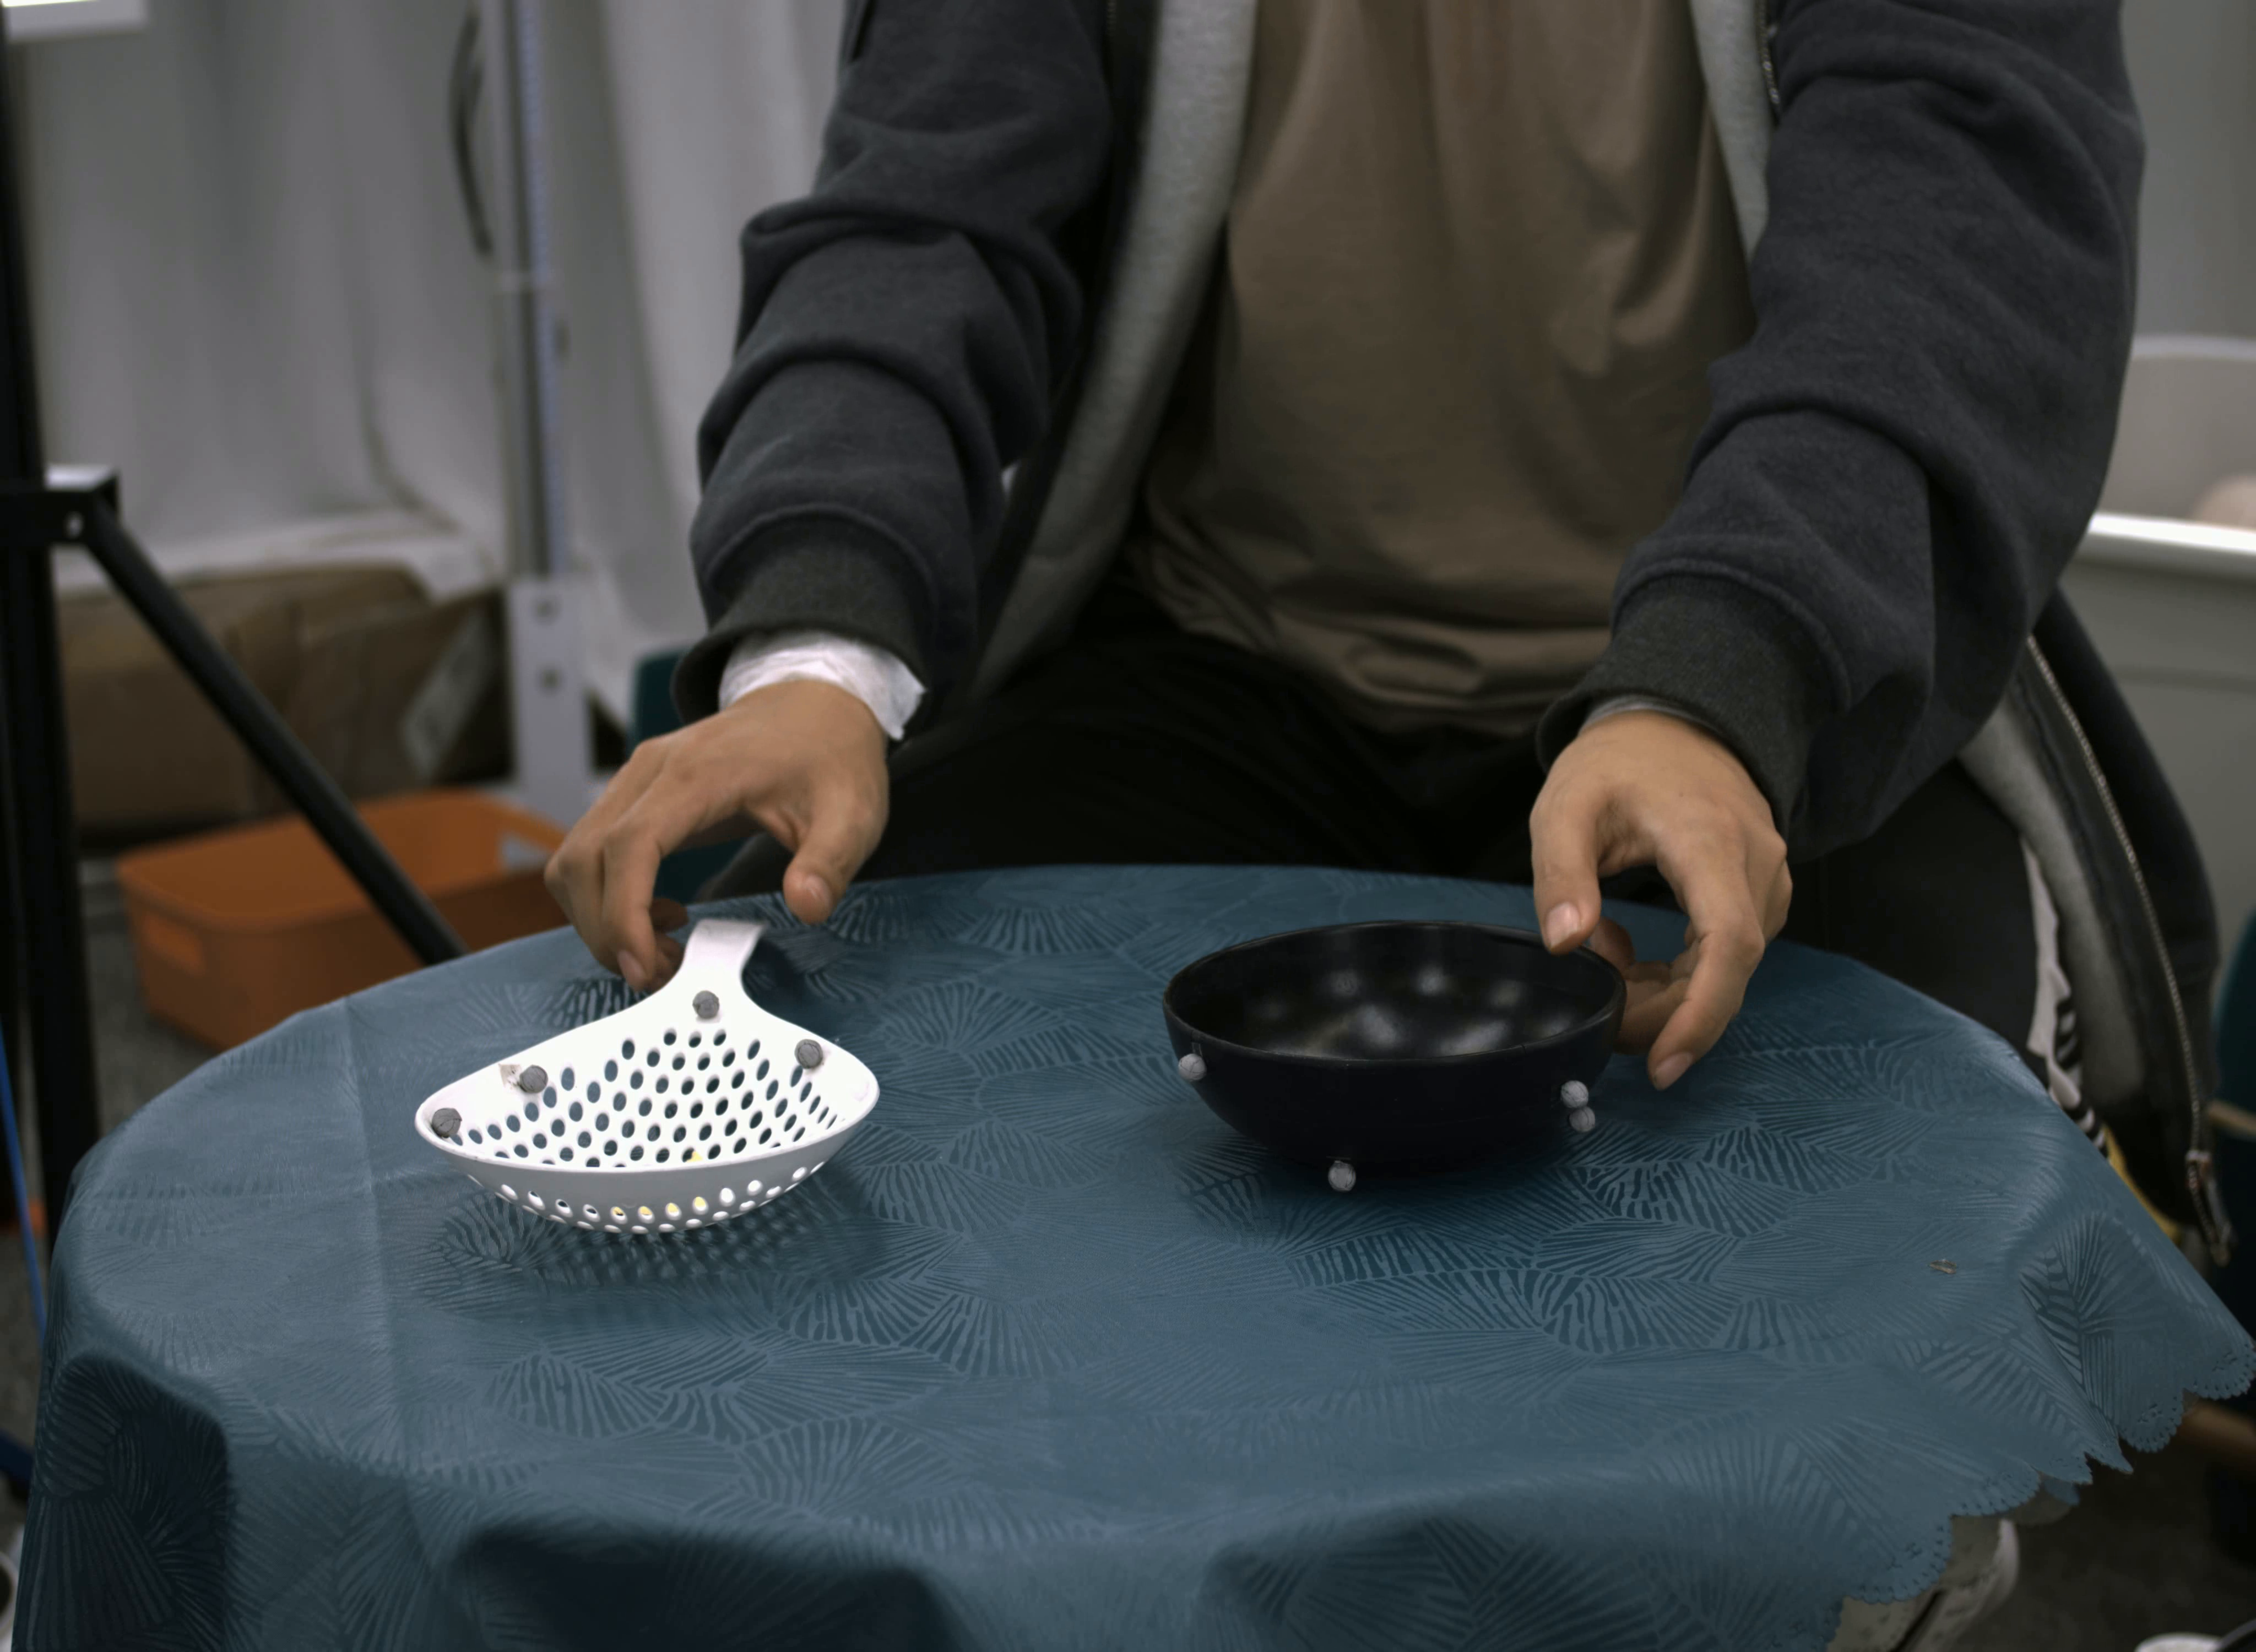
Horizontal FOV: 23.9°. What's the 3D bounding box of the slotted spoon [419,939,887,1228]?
[{"bbox_3d":[-0.134,0.066,1.659,0.136,0.050,0.349,-5,15,3],"label":"slotted spoon"}]
